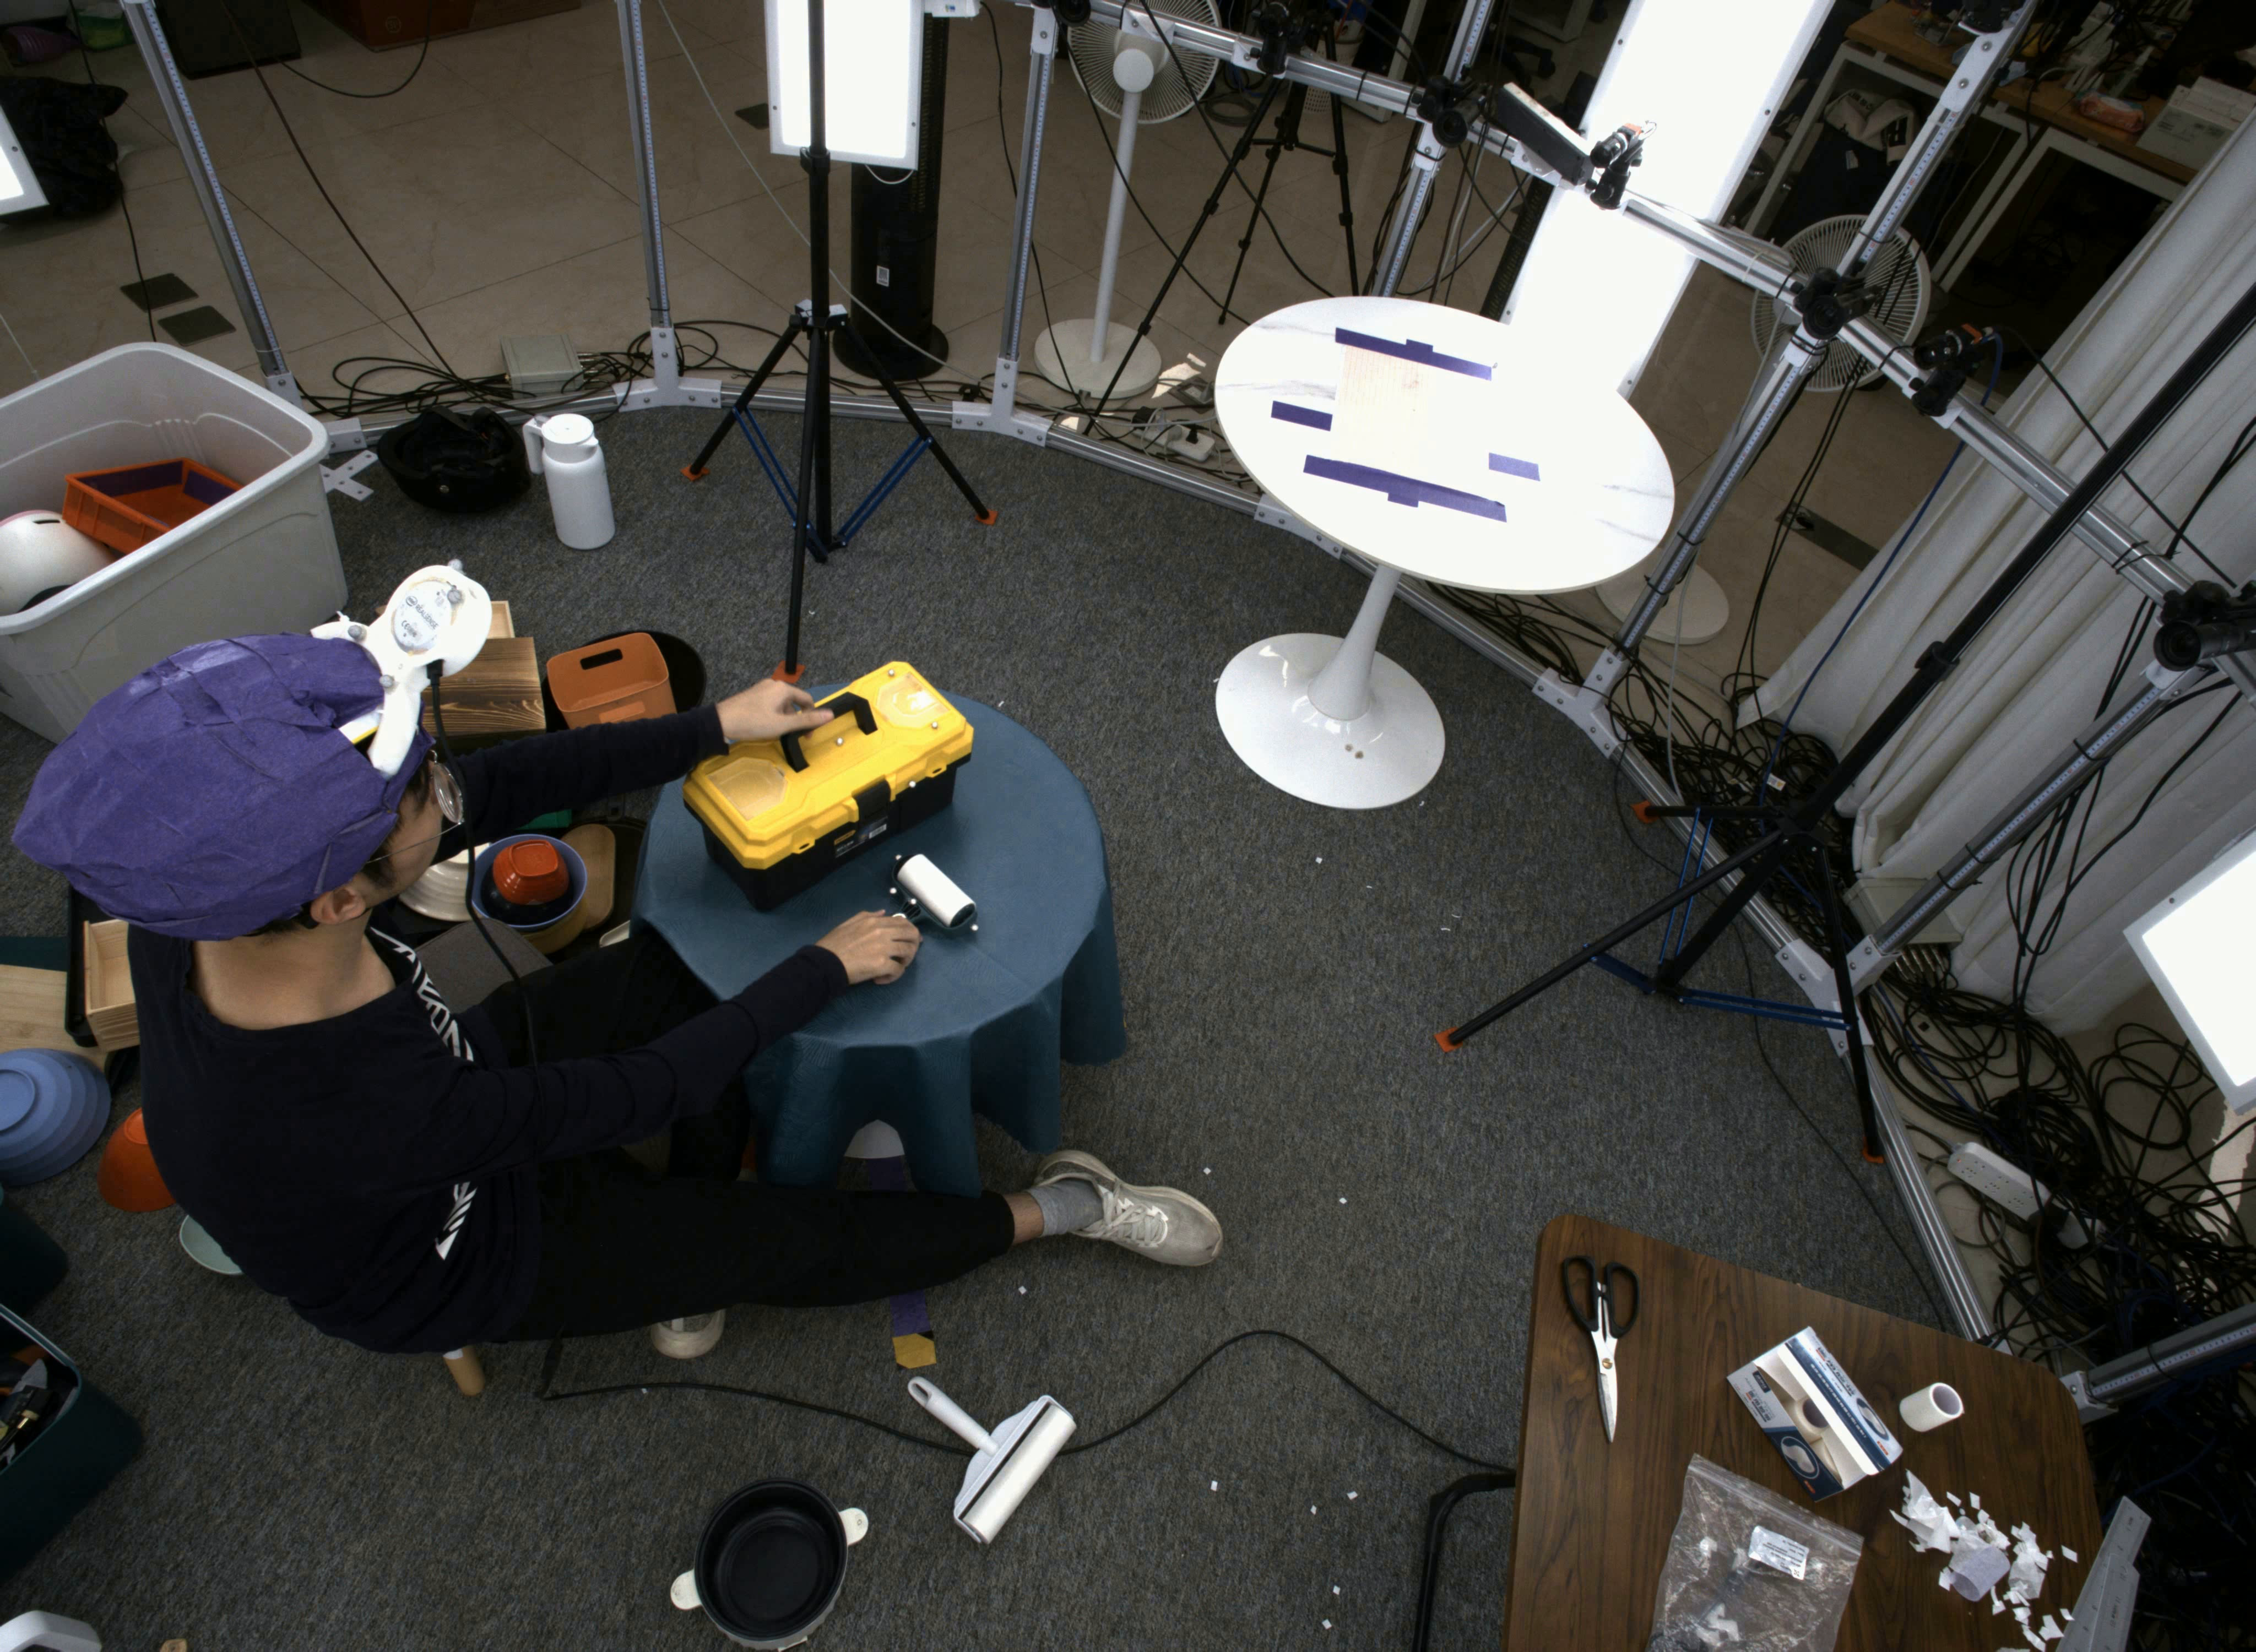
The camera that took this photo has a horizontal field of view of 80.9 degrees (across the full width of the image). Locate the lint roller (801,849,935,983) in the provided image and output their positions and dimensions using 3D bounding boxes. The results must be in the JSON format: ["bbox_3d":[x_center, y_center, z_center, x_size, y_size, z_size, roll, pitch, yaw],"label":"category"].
[{"bbox_3d":[-0.344,0.124,1.637,0.131,0.049,0.180,39,59,14],"label":"lint roller"}]

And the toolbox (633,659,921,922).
[{"bbox_3d":[-0.438,-0.045,1.653,0.177,0.176,0.352,40,55,19],"label":"toolbox"}]
